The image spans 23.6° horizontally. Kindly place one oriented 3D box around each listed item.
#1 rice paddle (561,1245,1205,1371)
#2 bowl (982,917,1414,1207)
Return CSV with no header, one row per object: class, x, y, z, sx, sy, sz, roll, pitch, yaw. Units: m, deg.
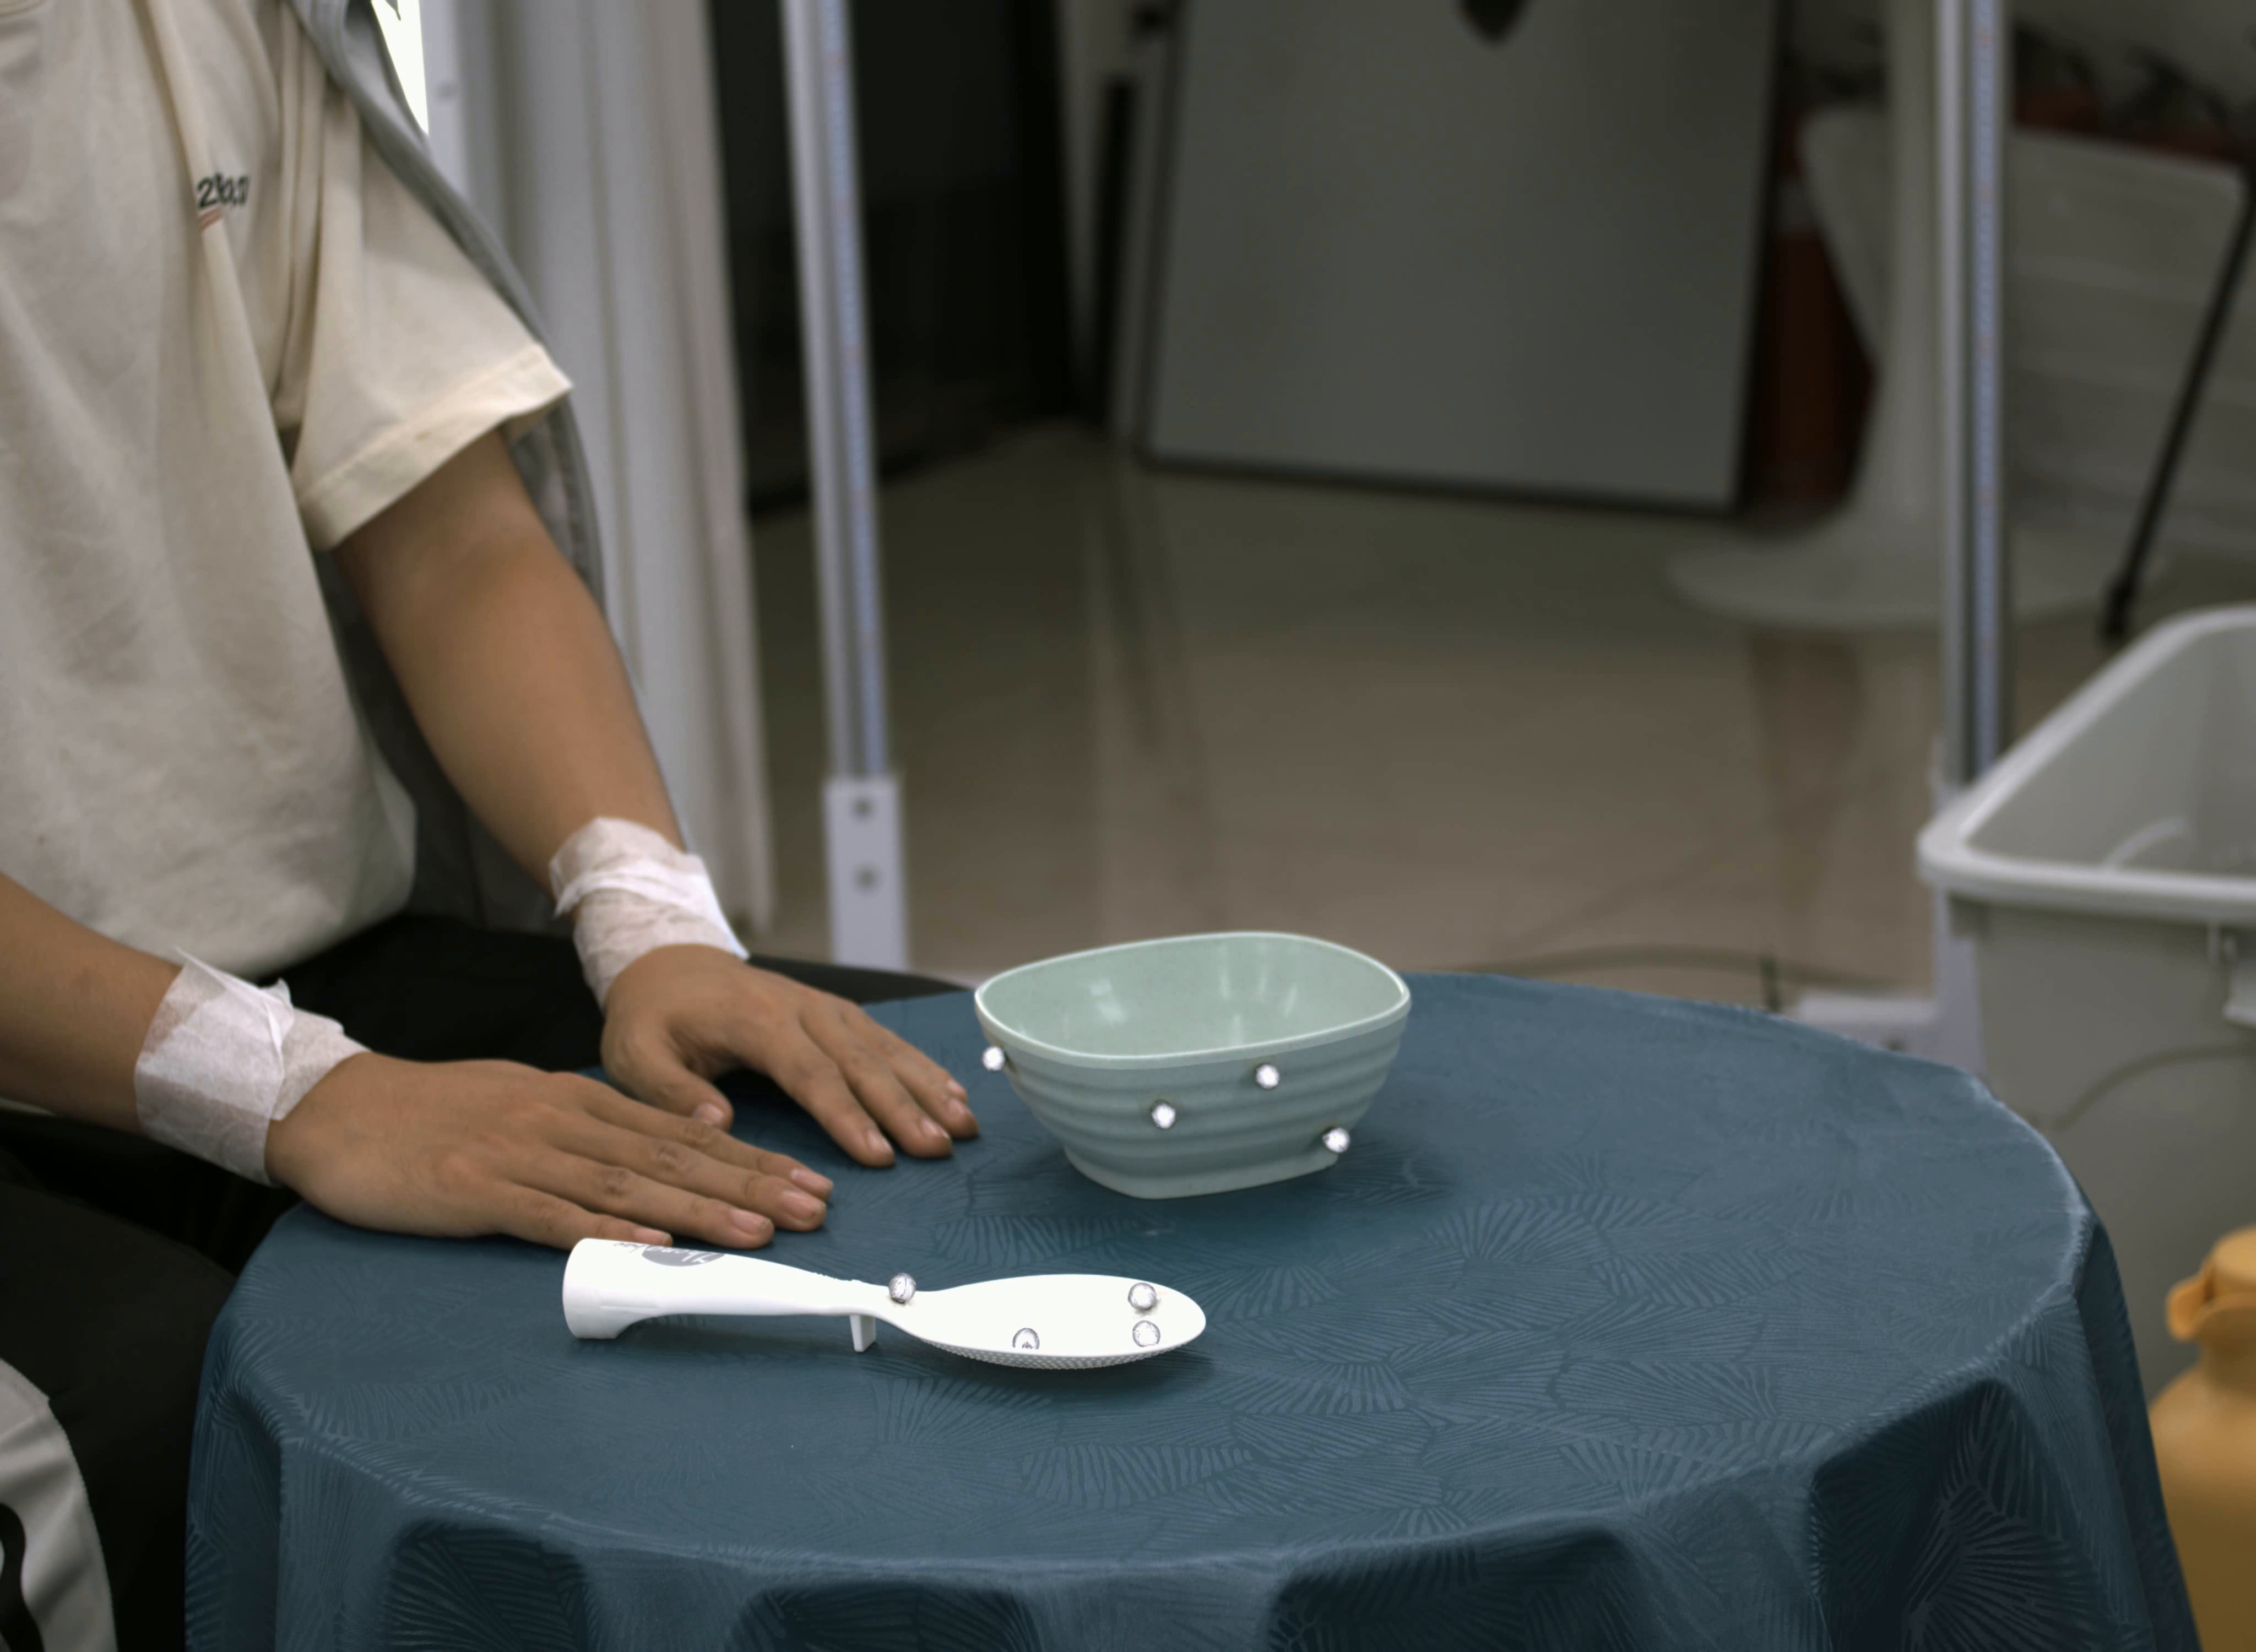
rice paddle,-0.074,0.145,1.636,0.205,0.030,0.068,1,16,20
bowl,0.025,0.082,1.800,0.149,0.059,0.152,-5,17,1
